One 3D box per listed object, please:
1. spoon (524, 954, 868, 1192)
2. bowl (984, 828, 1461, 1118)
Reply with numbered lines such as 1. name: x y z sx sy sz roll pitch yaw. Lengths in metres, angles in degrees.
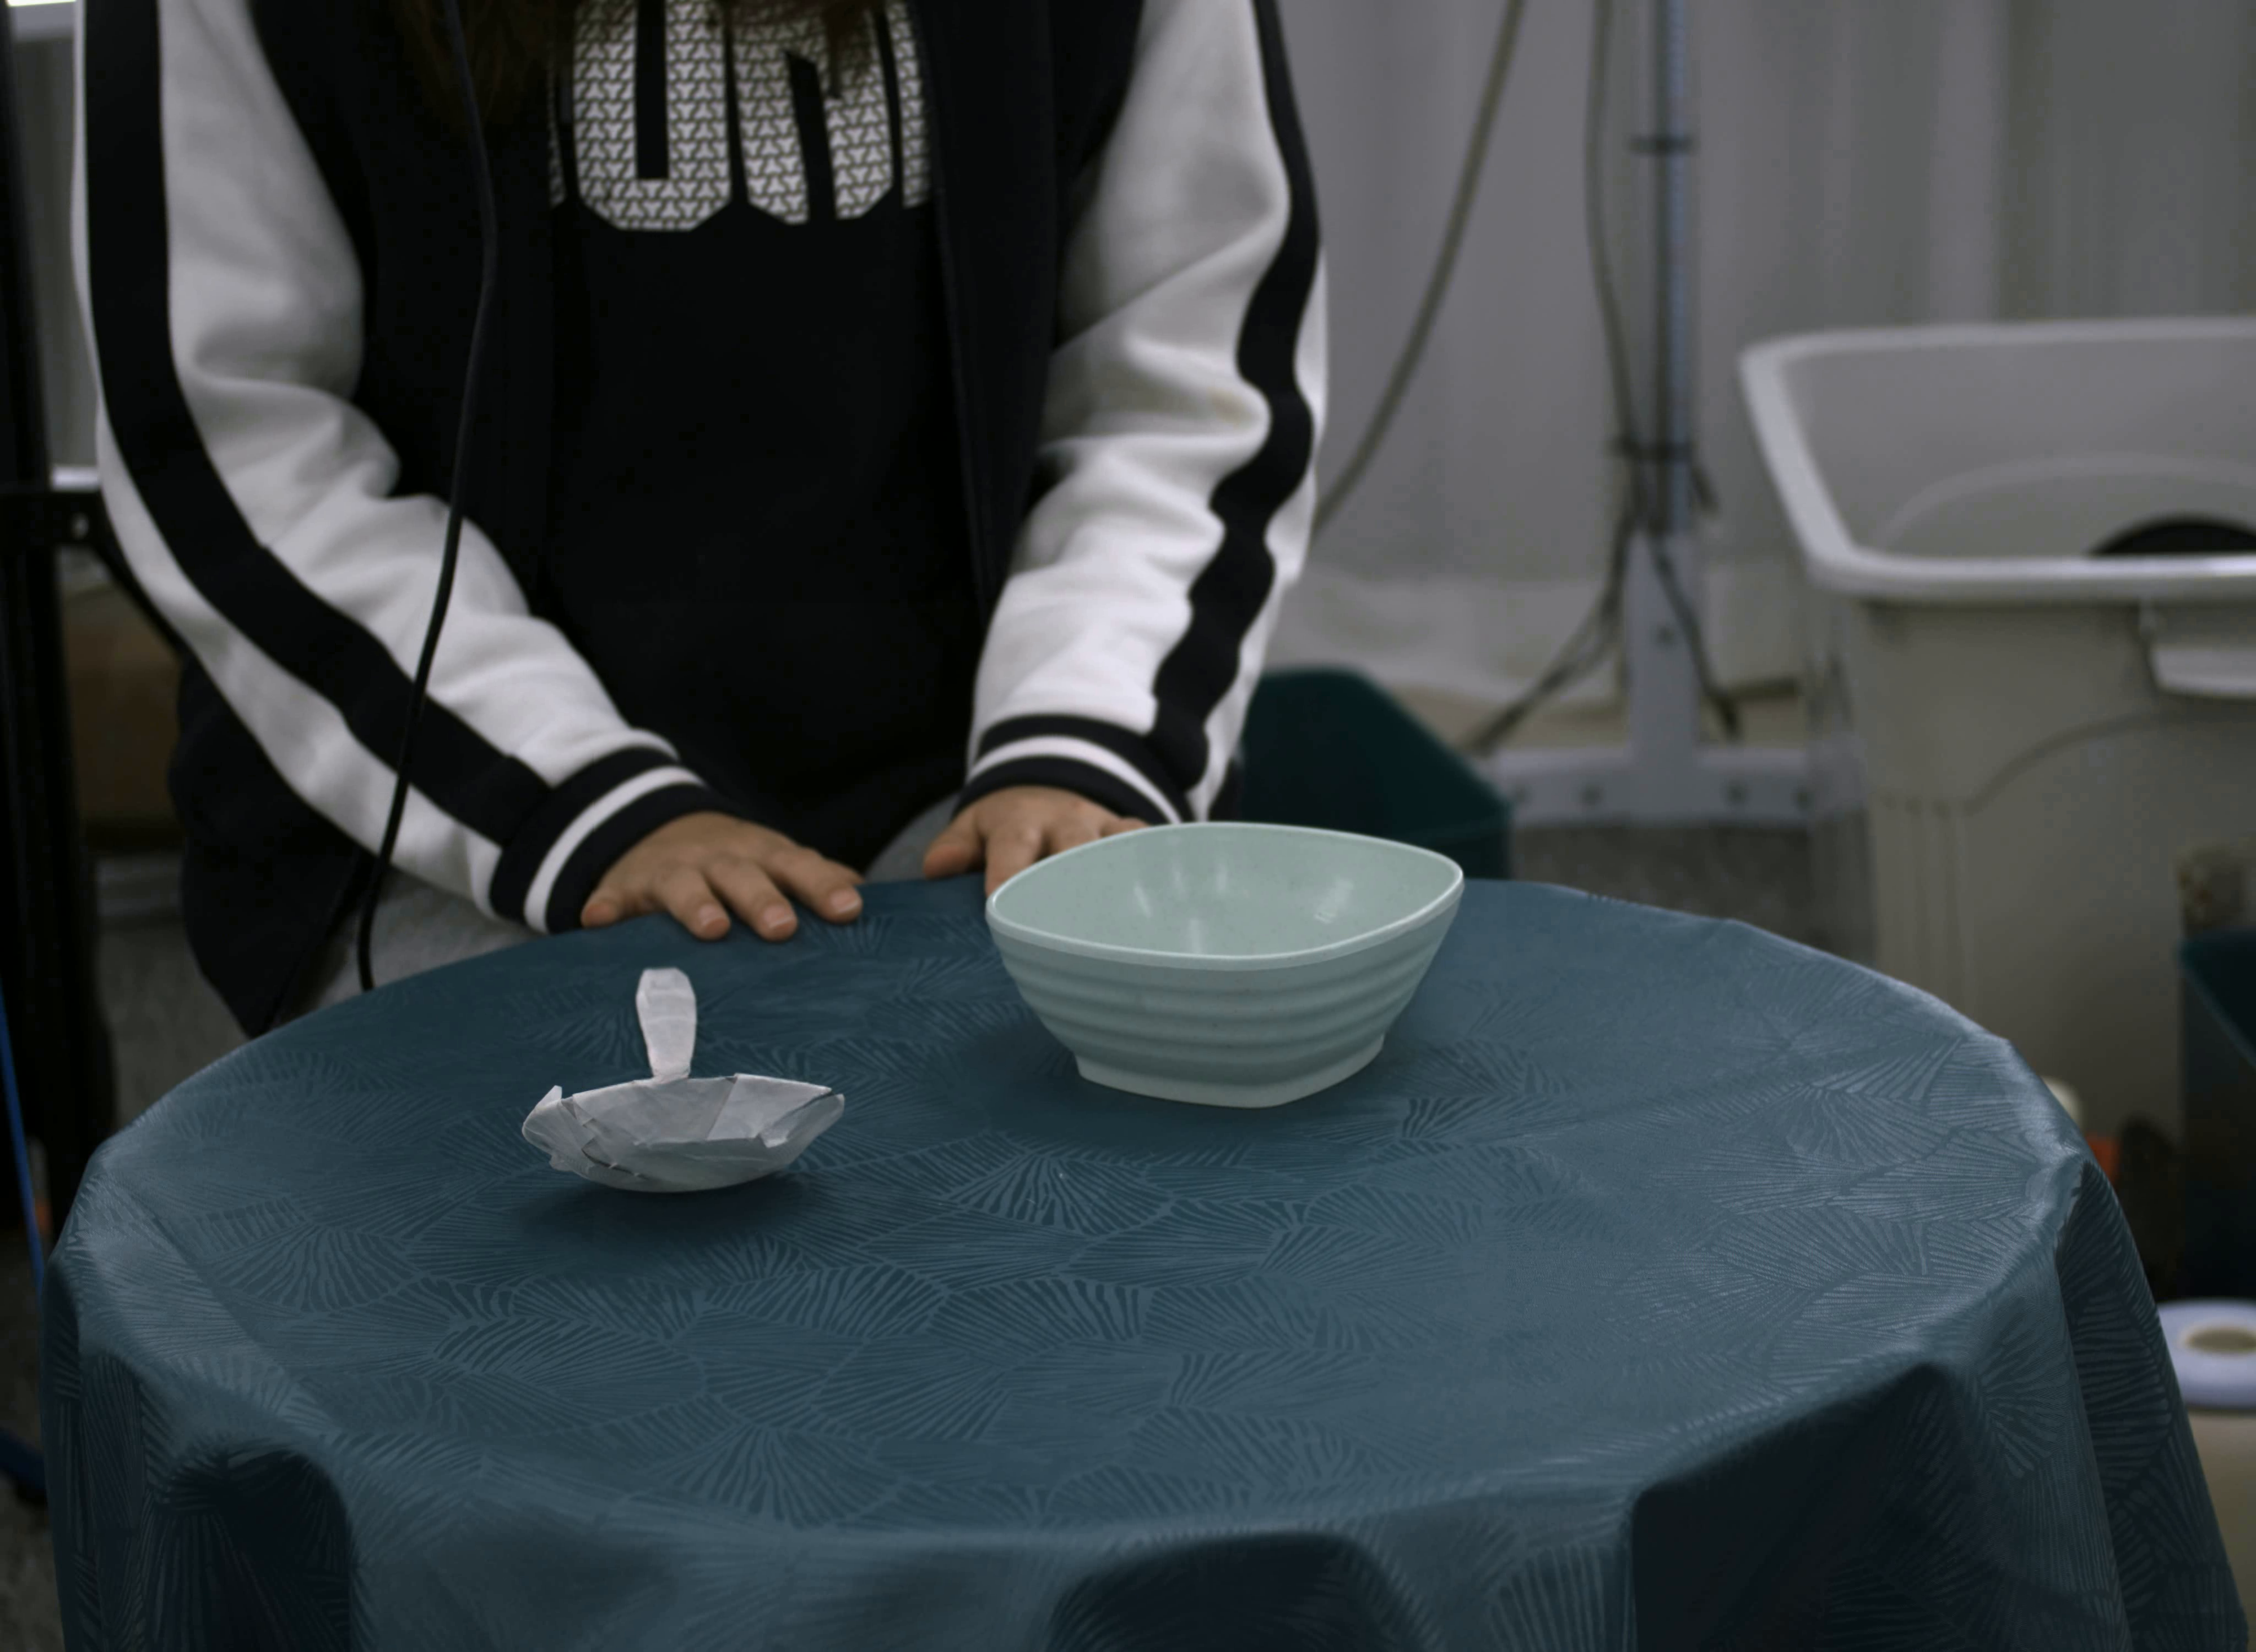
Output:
1. spoon: -0.132 0.059 1.649 0.100 0.059 0.279 2 16 -4
2. bowl: 0.031 0.049 1.665 0.150 0.058 0.152 -2 16 -1
